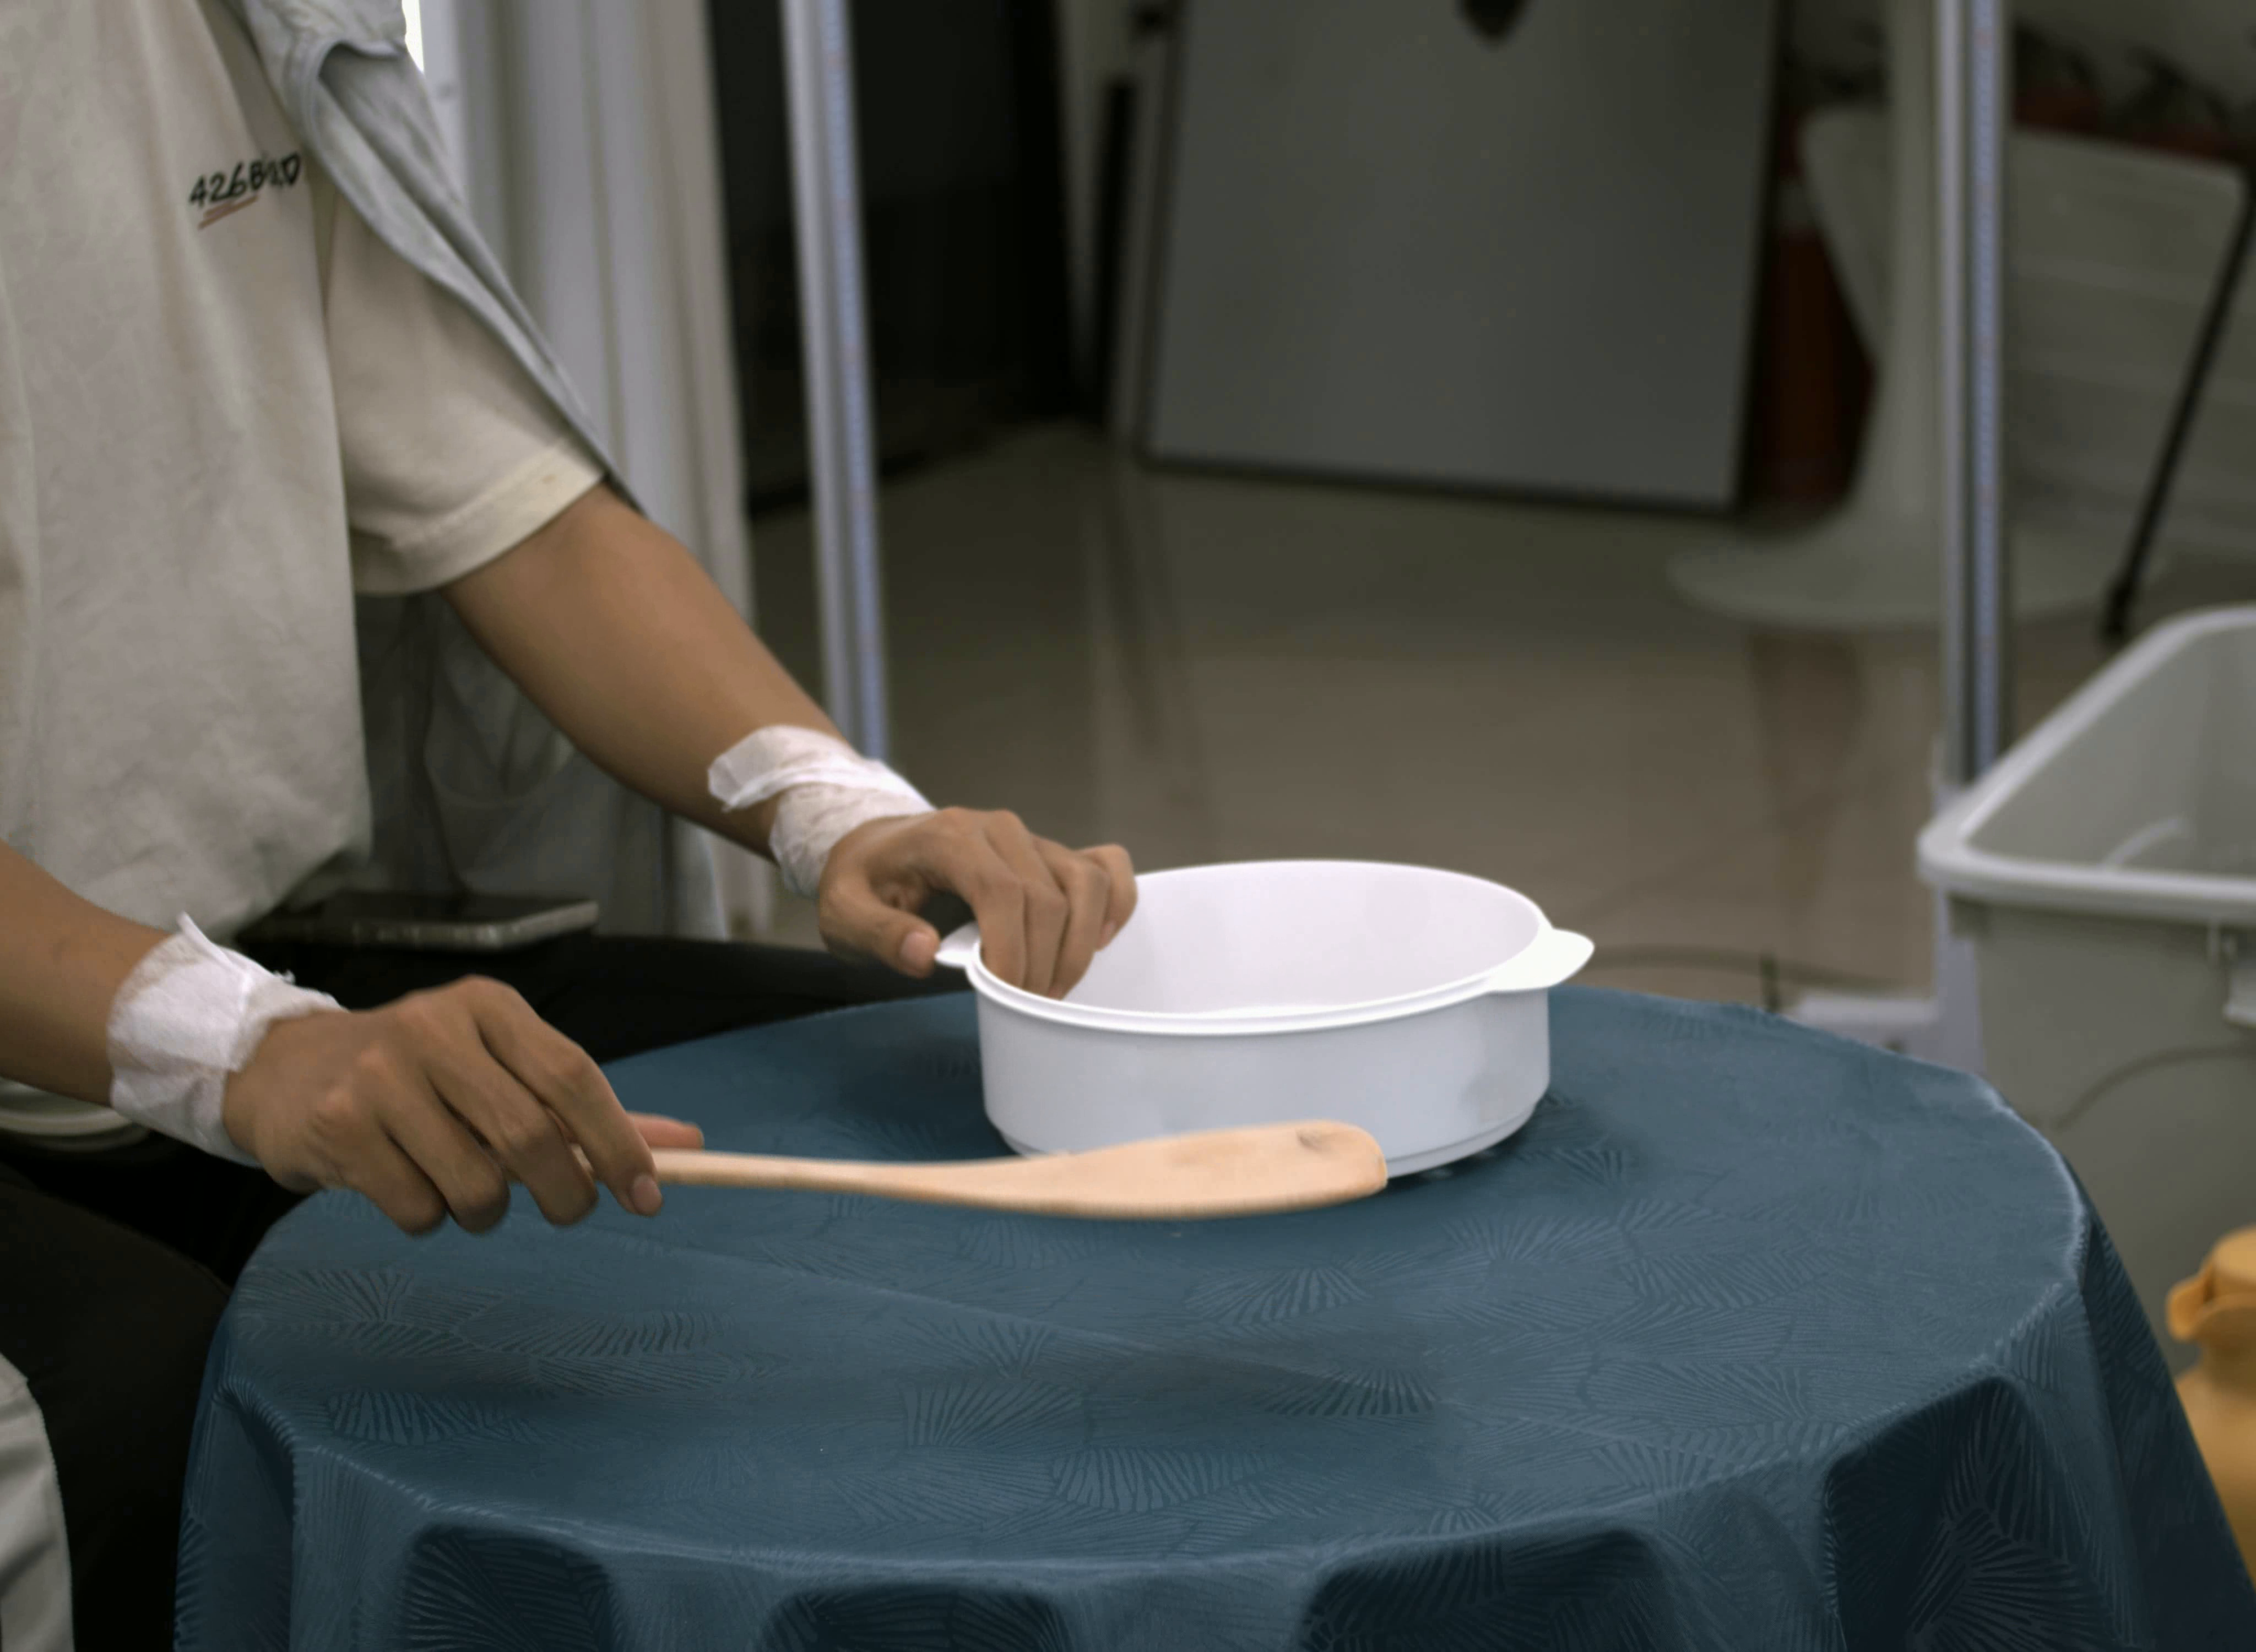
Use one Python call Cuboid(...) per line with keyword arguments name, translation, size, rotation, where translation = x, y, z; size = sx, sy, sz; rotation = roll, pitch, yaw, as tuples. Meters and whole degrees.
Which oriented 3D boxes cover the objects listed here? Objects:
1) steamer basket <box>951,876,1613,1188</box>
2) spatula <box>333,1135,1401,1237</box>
Cuboid(name="steamer basket", translation=(0.052, 0.071, 1.828), size=(0.230, 0.070, 0.200), rotation=(1, 13, 22))
Cuboid(name="spatula", translation=(-0.077, 0.105, 1.596), size=(0.325, 0.017, 0.079), rotation=(0, 13, 10))
